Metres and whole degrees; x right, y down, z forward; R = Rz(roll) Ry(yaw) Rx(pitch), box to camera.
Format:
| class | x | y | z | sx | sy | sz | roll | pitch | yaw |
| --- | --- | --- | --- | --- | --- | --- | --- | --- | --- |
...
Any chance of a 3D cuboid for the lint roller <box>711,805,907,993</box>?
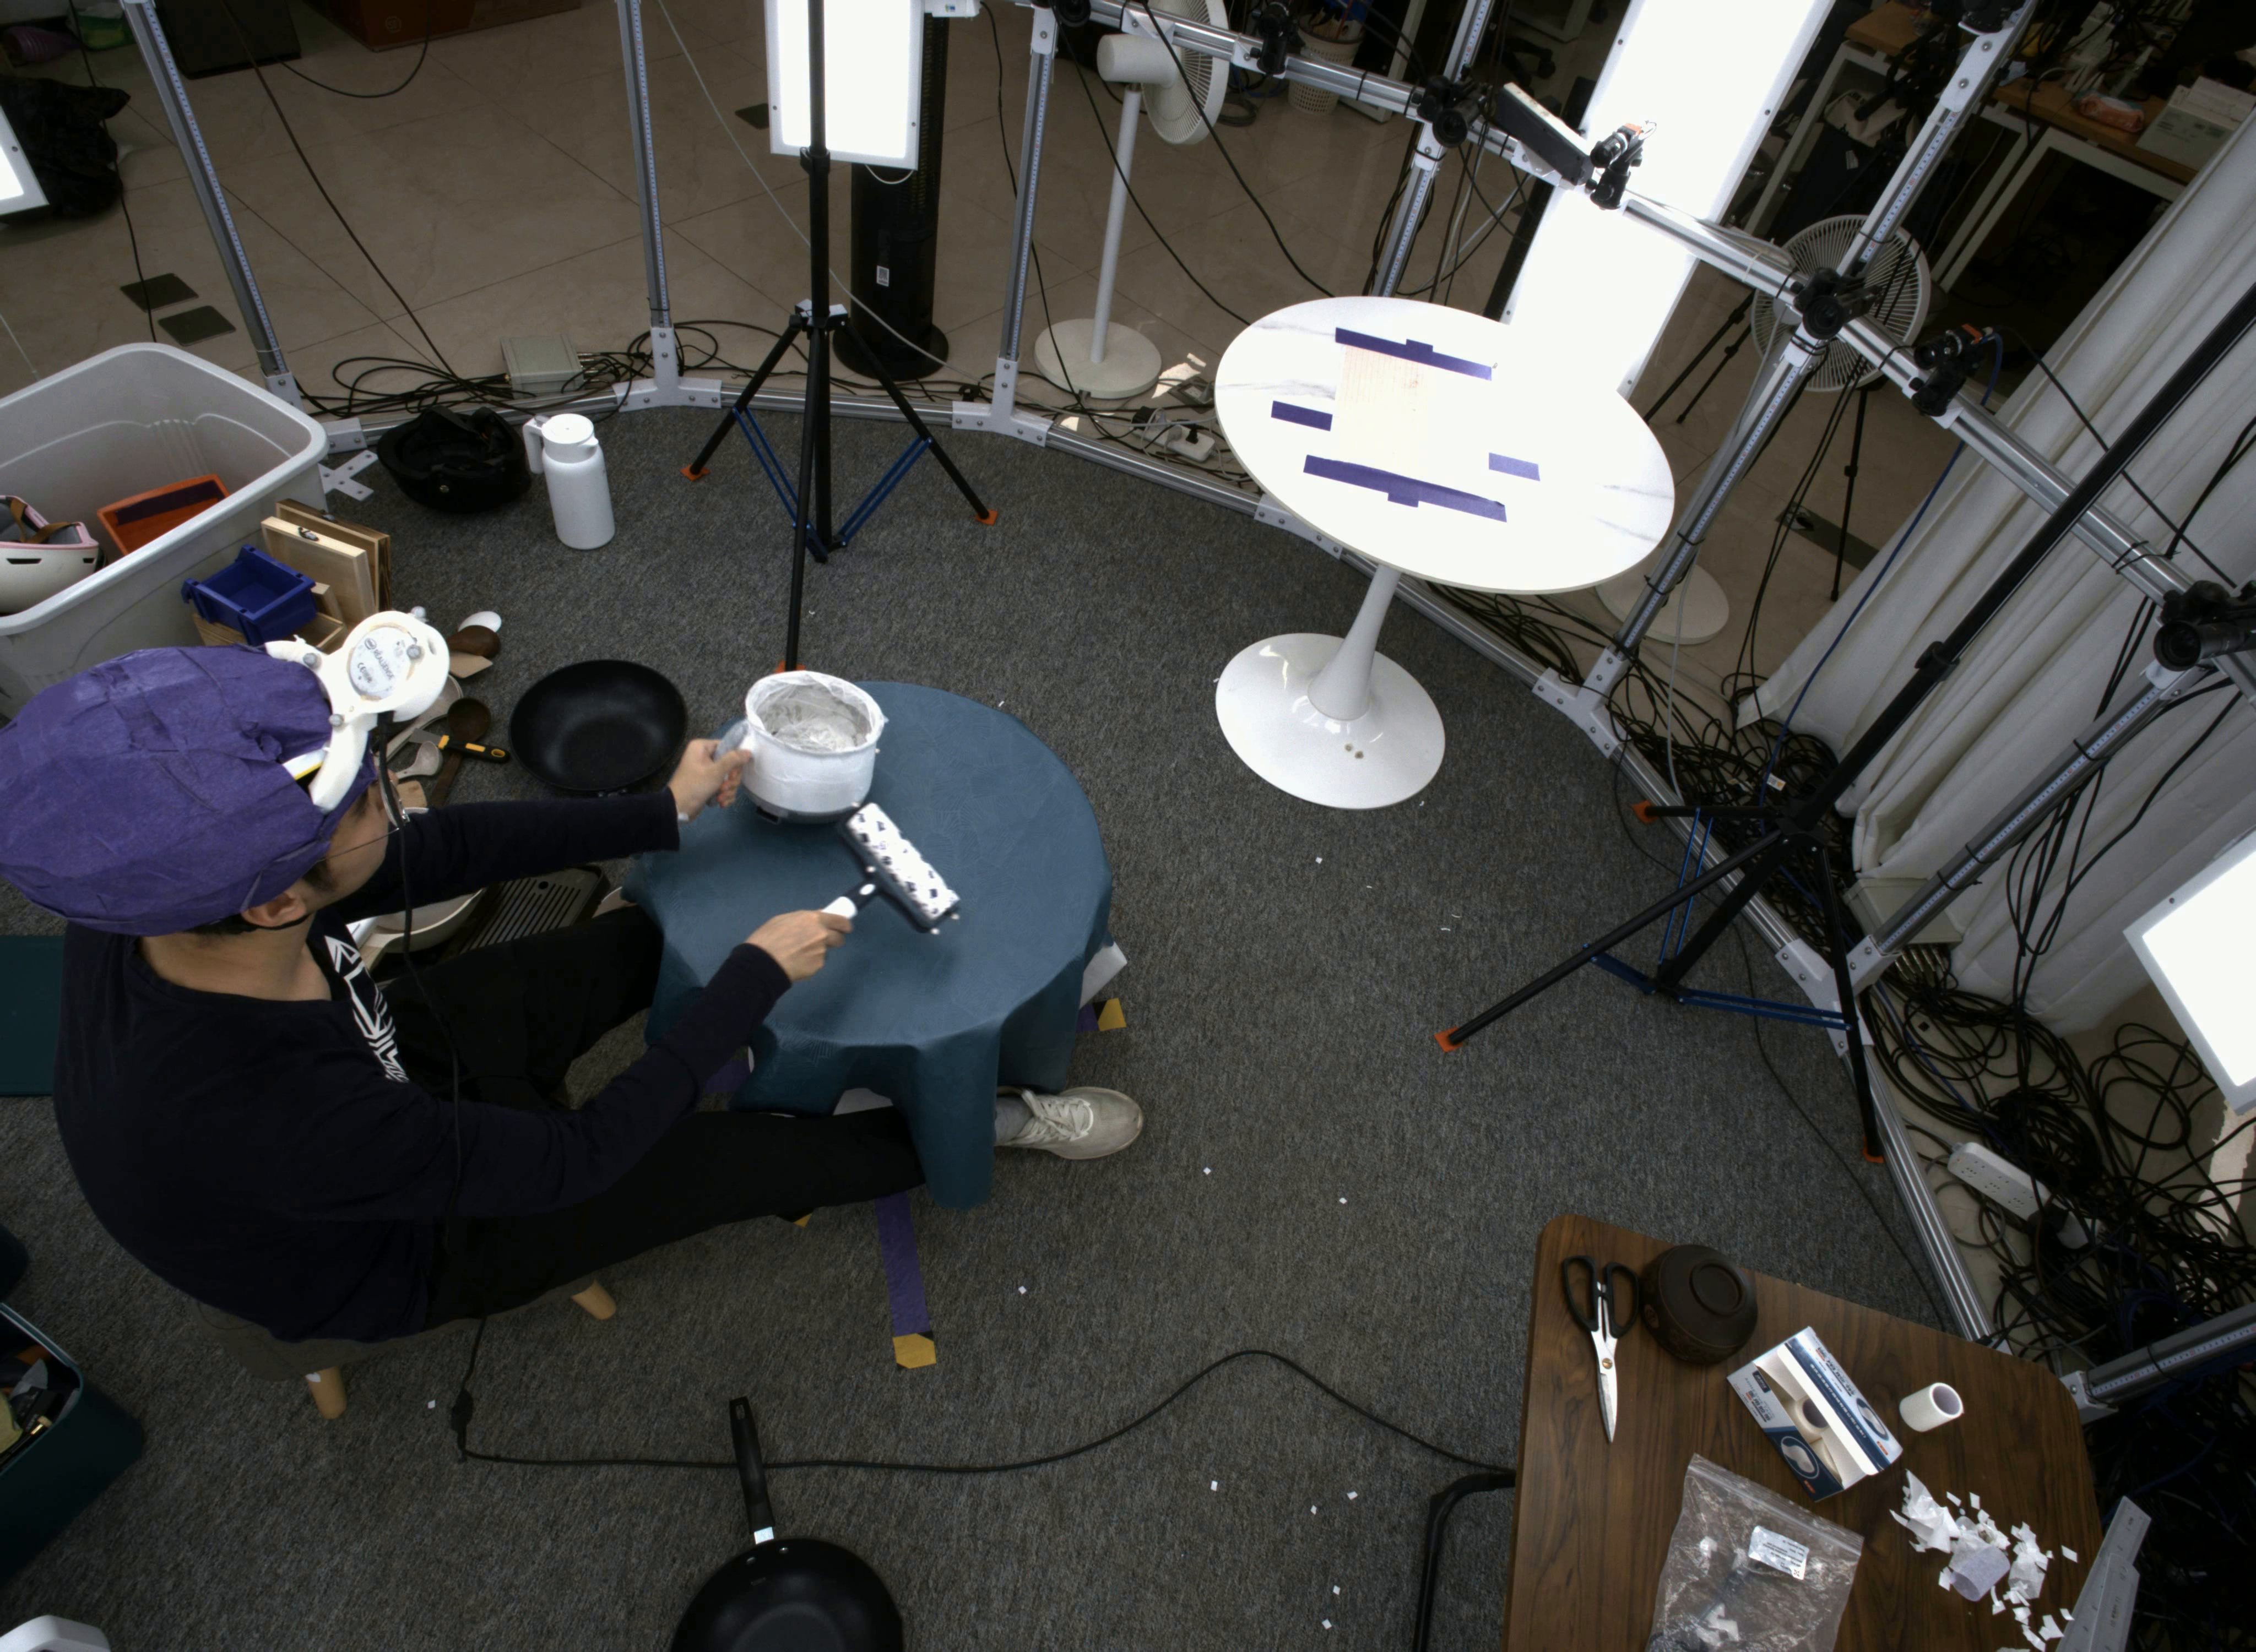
| class | x | y | z | sx | sy | sz | roll | pitch | yaw |
| --- | --- | --- | --- | --- | --- | --- | --- | --- | --- |
| lint roller | -0.395 | 0.106 | 1.529 | 0.178 | 0.050 | 0.246 | 46 | 52 | -7 |

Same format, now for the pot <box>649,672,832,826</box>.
| class | x | y | z | sx | sy | sz | roll | pitch | yaw |
| --- | --- | --- | --- | --- | --- | --- | --- | --- | --- |
| pot | -0.500 | -0.092 | 1.655 | 0.173 | 0.139 | 0.236 | 38 | 36 | 28 |
